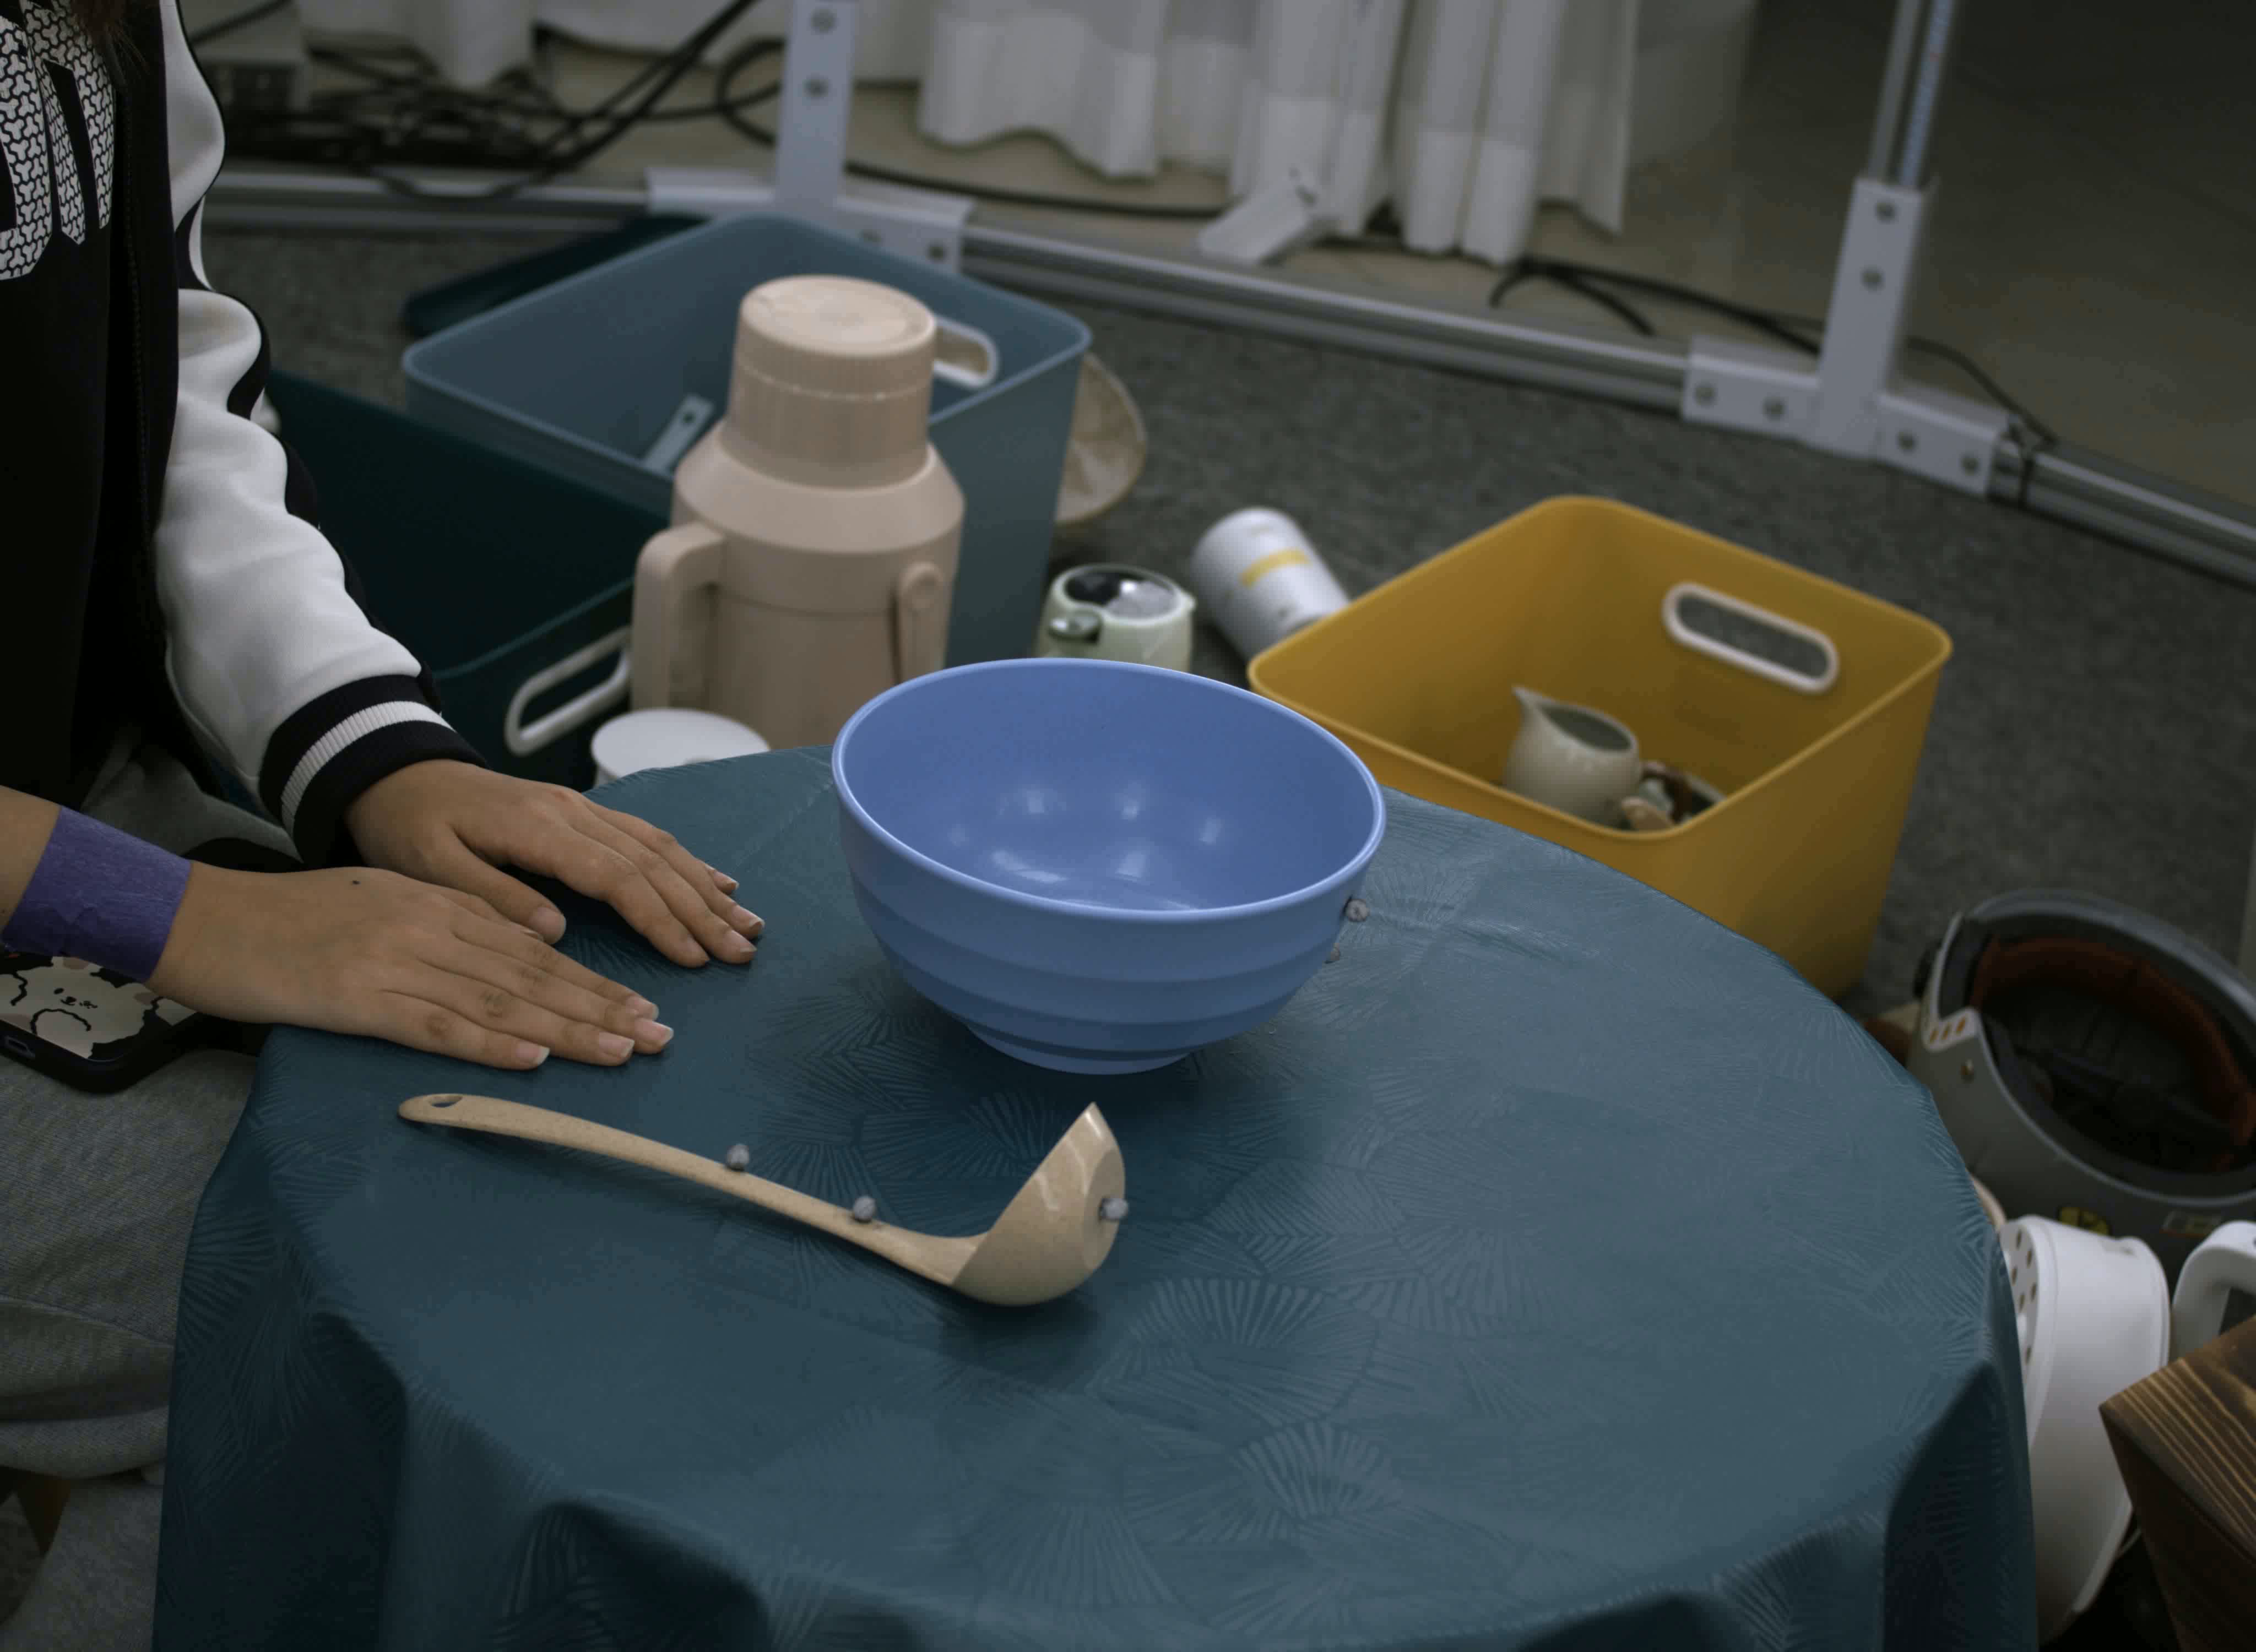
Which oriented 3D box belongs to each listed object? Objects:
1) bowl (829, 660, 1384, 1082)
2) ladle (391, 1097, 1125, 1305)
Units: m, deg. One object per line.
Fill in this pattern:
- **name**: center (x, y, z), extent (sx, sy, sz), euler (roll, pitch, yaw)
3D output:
- **bowl**: center (-0.011, 0.027, 1.891), extent (0.196, 0.095, 0.198), euler (4, 28, -3)
- **ladle**: center (-0.125, 0.096, 1.747), extent (0.255, 0.072, 0.072), euler (14, 26, 15)
